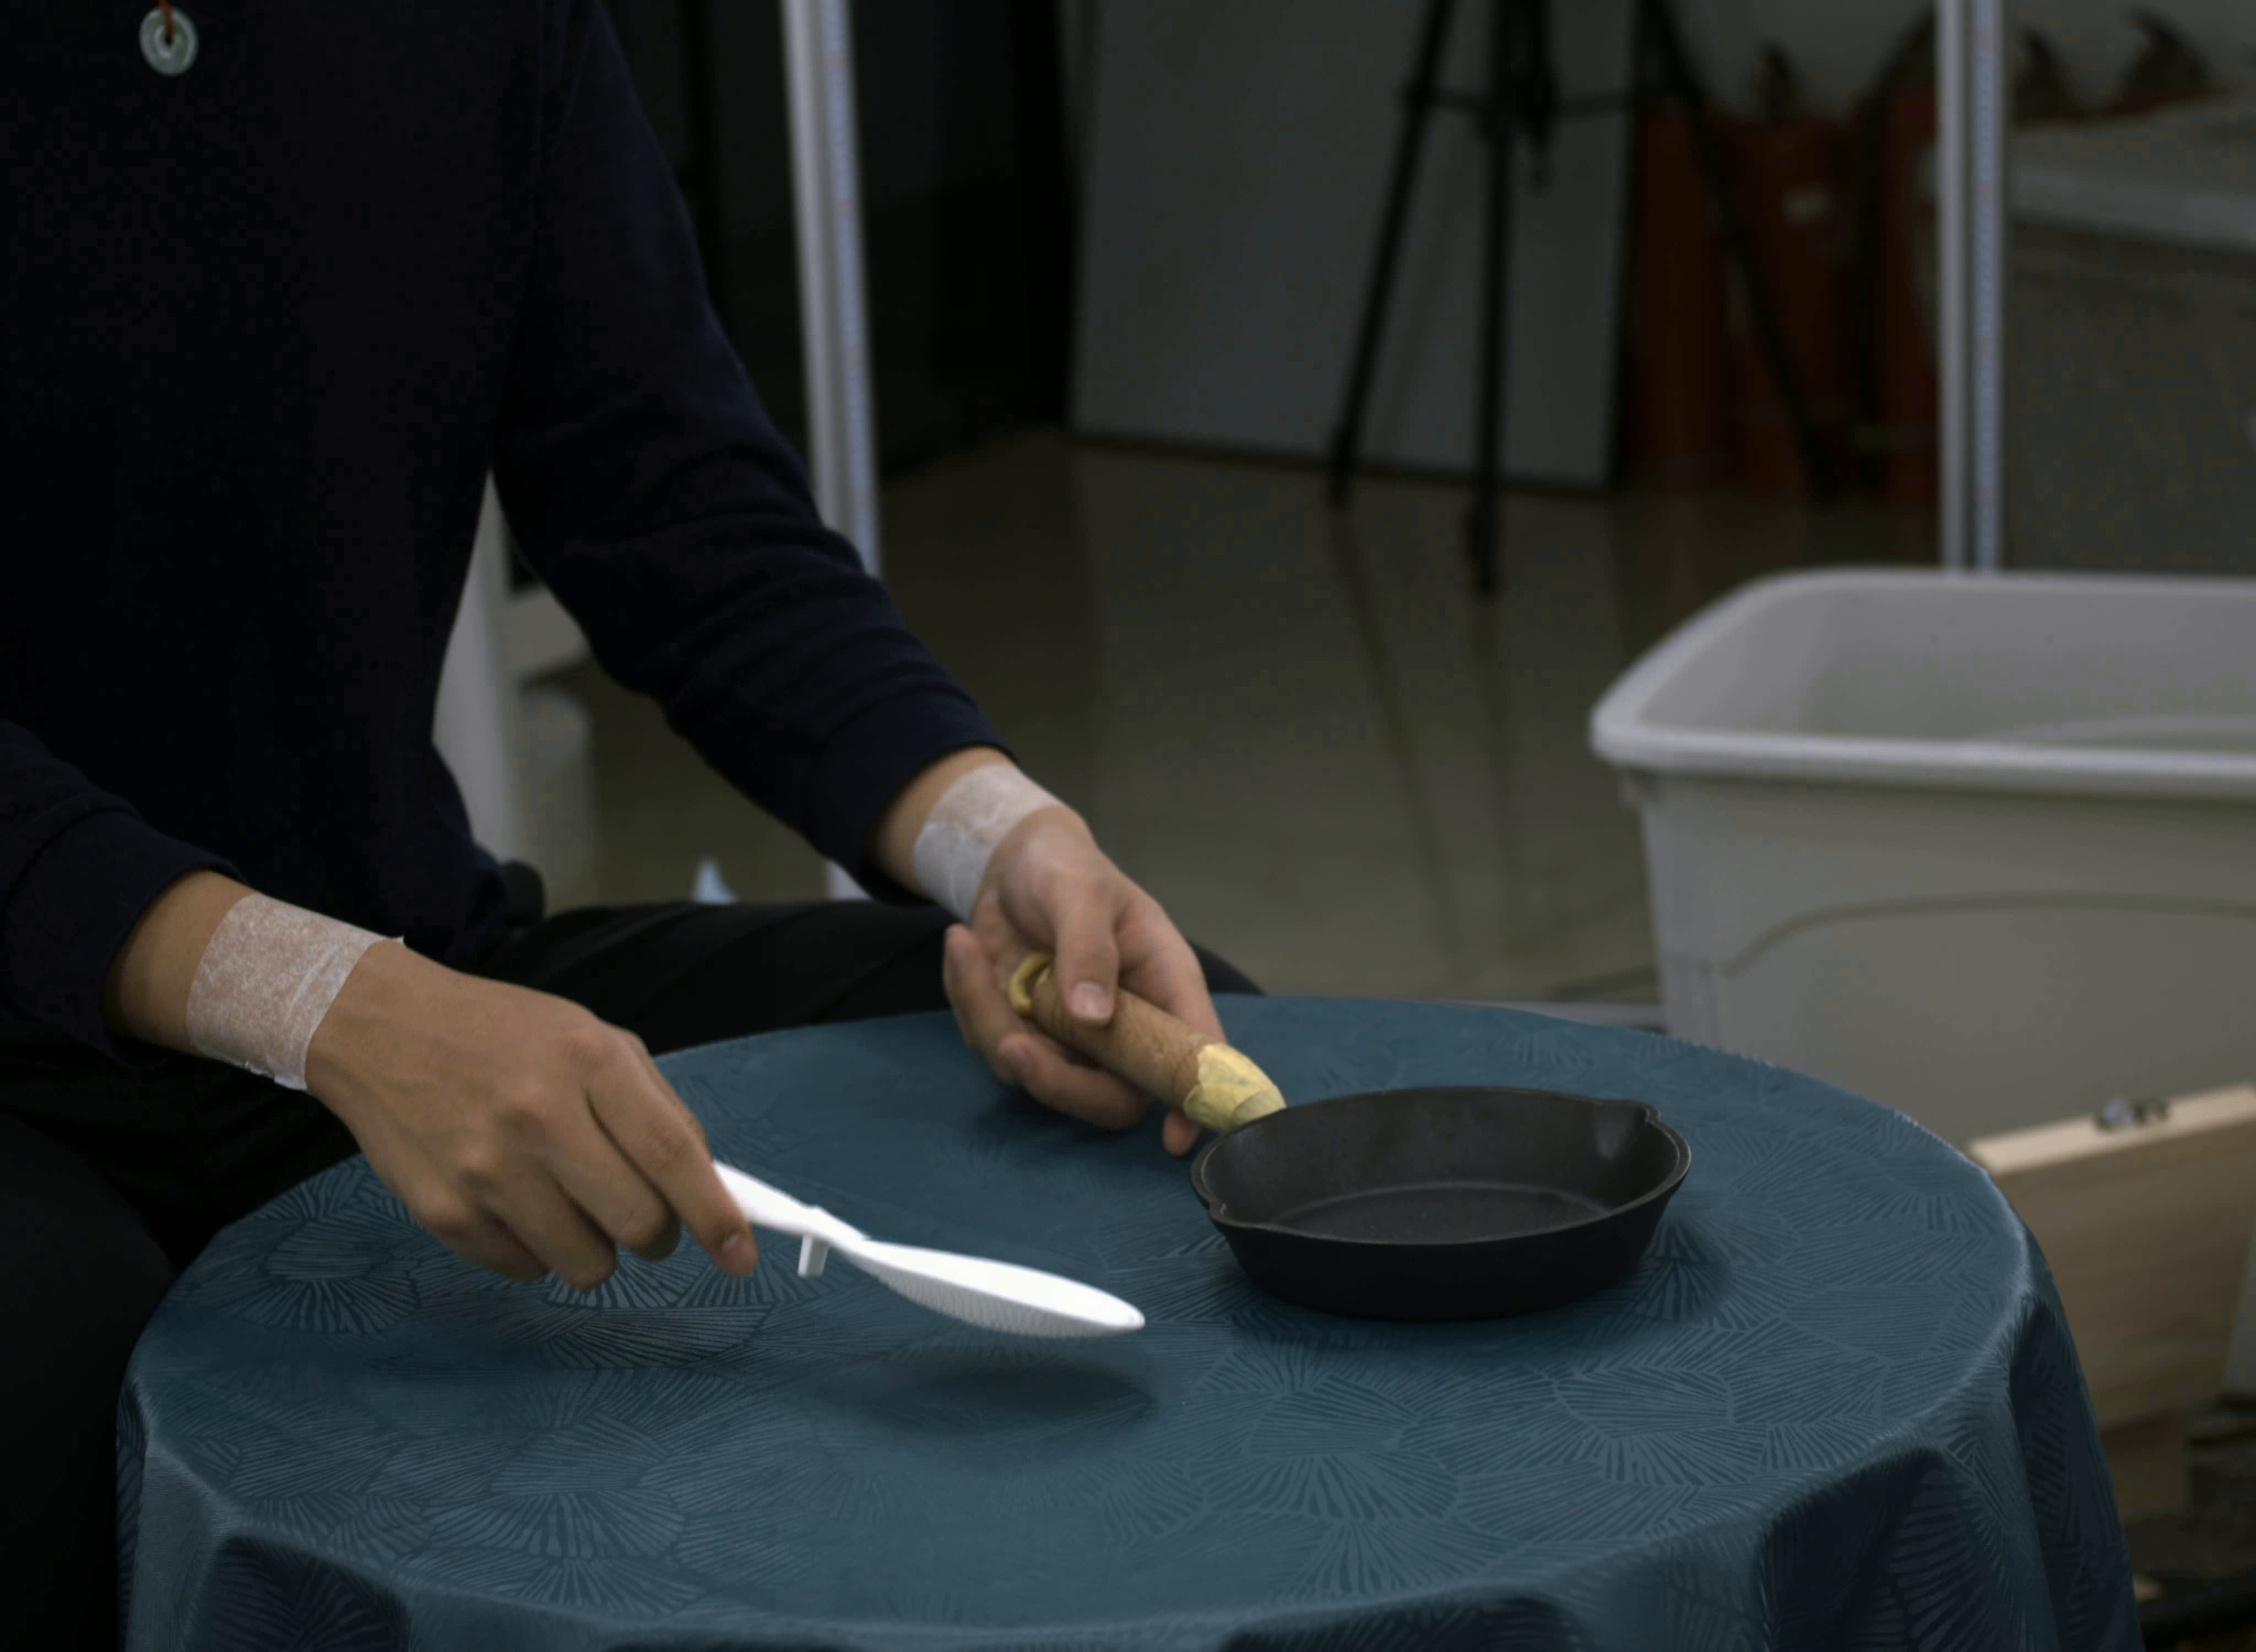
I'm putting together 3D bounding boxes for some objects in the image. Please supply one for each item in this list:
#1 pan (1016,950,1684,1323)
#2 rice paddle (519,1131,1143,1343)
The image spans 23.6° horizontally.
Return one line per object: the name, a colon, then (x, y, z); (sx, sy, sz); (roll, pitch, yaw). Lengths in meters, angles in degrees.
pan: (0.053, 0.096, 1.751); (0.165, 0.050, 0.327); (-12, 17, -28)
rice paddle: (-0.088, 0.126, 1.621); (0.205, 0.030, 0.068); (11, 3, 24)
